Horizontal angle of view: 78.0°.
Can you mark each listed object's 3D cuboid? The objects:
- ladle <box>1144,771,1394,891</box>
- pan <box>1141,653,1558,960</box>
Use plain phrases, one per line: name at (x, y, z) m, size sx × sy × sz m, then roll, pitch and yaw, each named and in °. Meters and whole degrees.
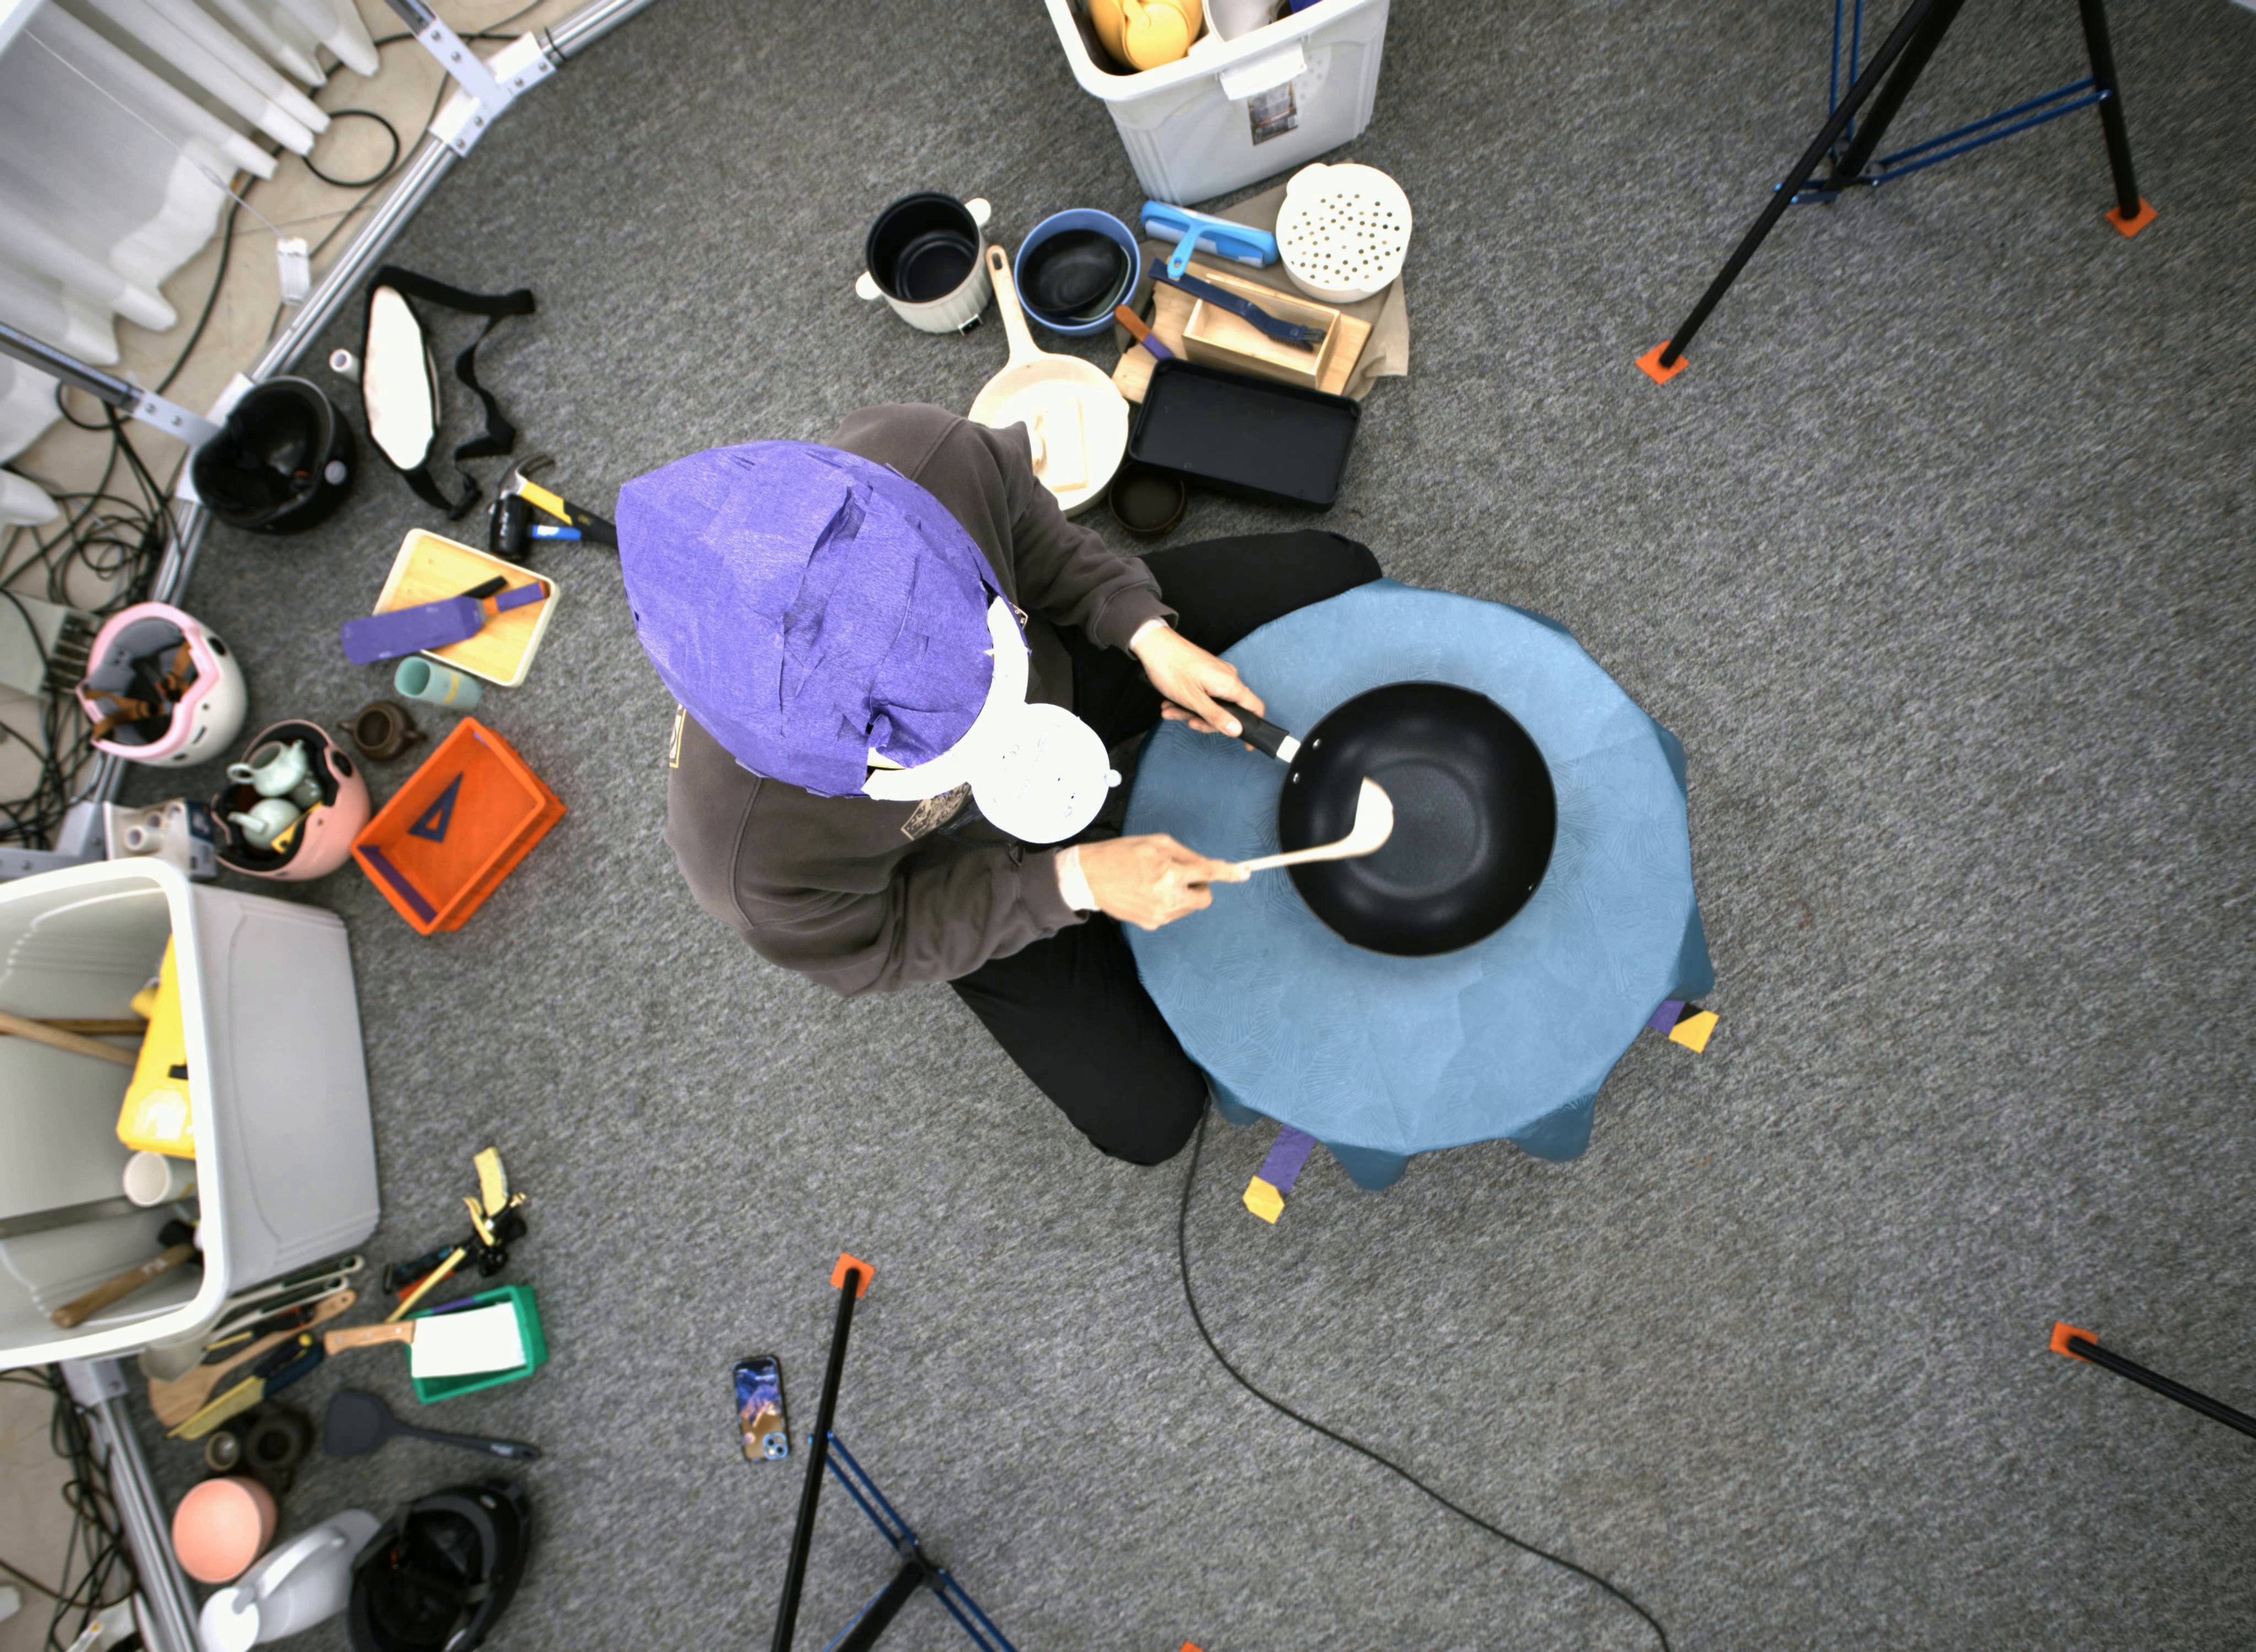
ladle at (0.132, 0.004, 1.350) m, size 0.254 × 0.074 × 0.071 m, roll -12°, pitch 59°, yaw -2°
pan at (0.216, -0.049, 1.432) m, size 0.462 × 0.087 × 0.288 m, roll 30°, pitch 93°, yaw 12°
